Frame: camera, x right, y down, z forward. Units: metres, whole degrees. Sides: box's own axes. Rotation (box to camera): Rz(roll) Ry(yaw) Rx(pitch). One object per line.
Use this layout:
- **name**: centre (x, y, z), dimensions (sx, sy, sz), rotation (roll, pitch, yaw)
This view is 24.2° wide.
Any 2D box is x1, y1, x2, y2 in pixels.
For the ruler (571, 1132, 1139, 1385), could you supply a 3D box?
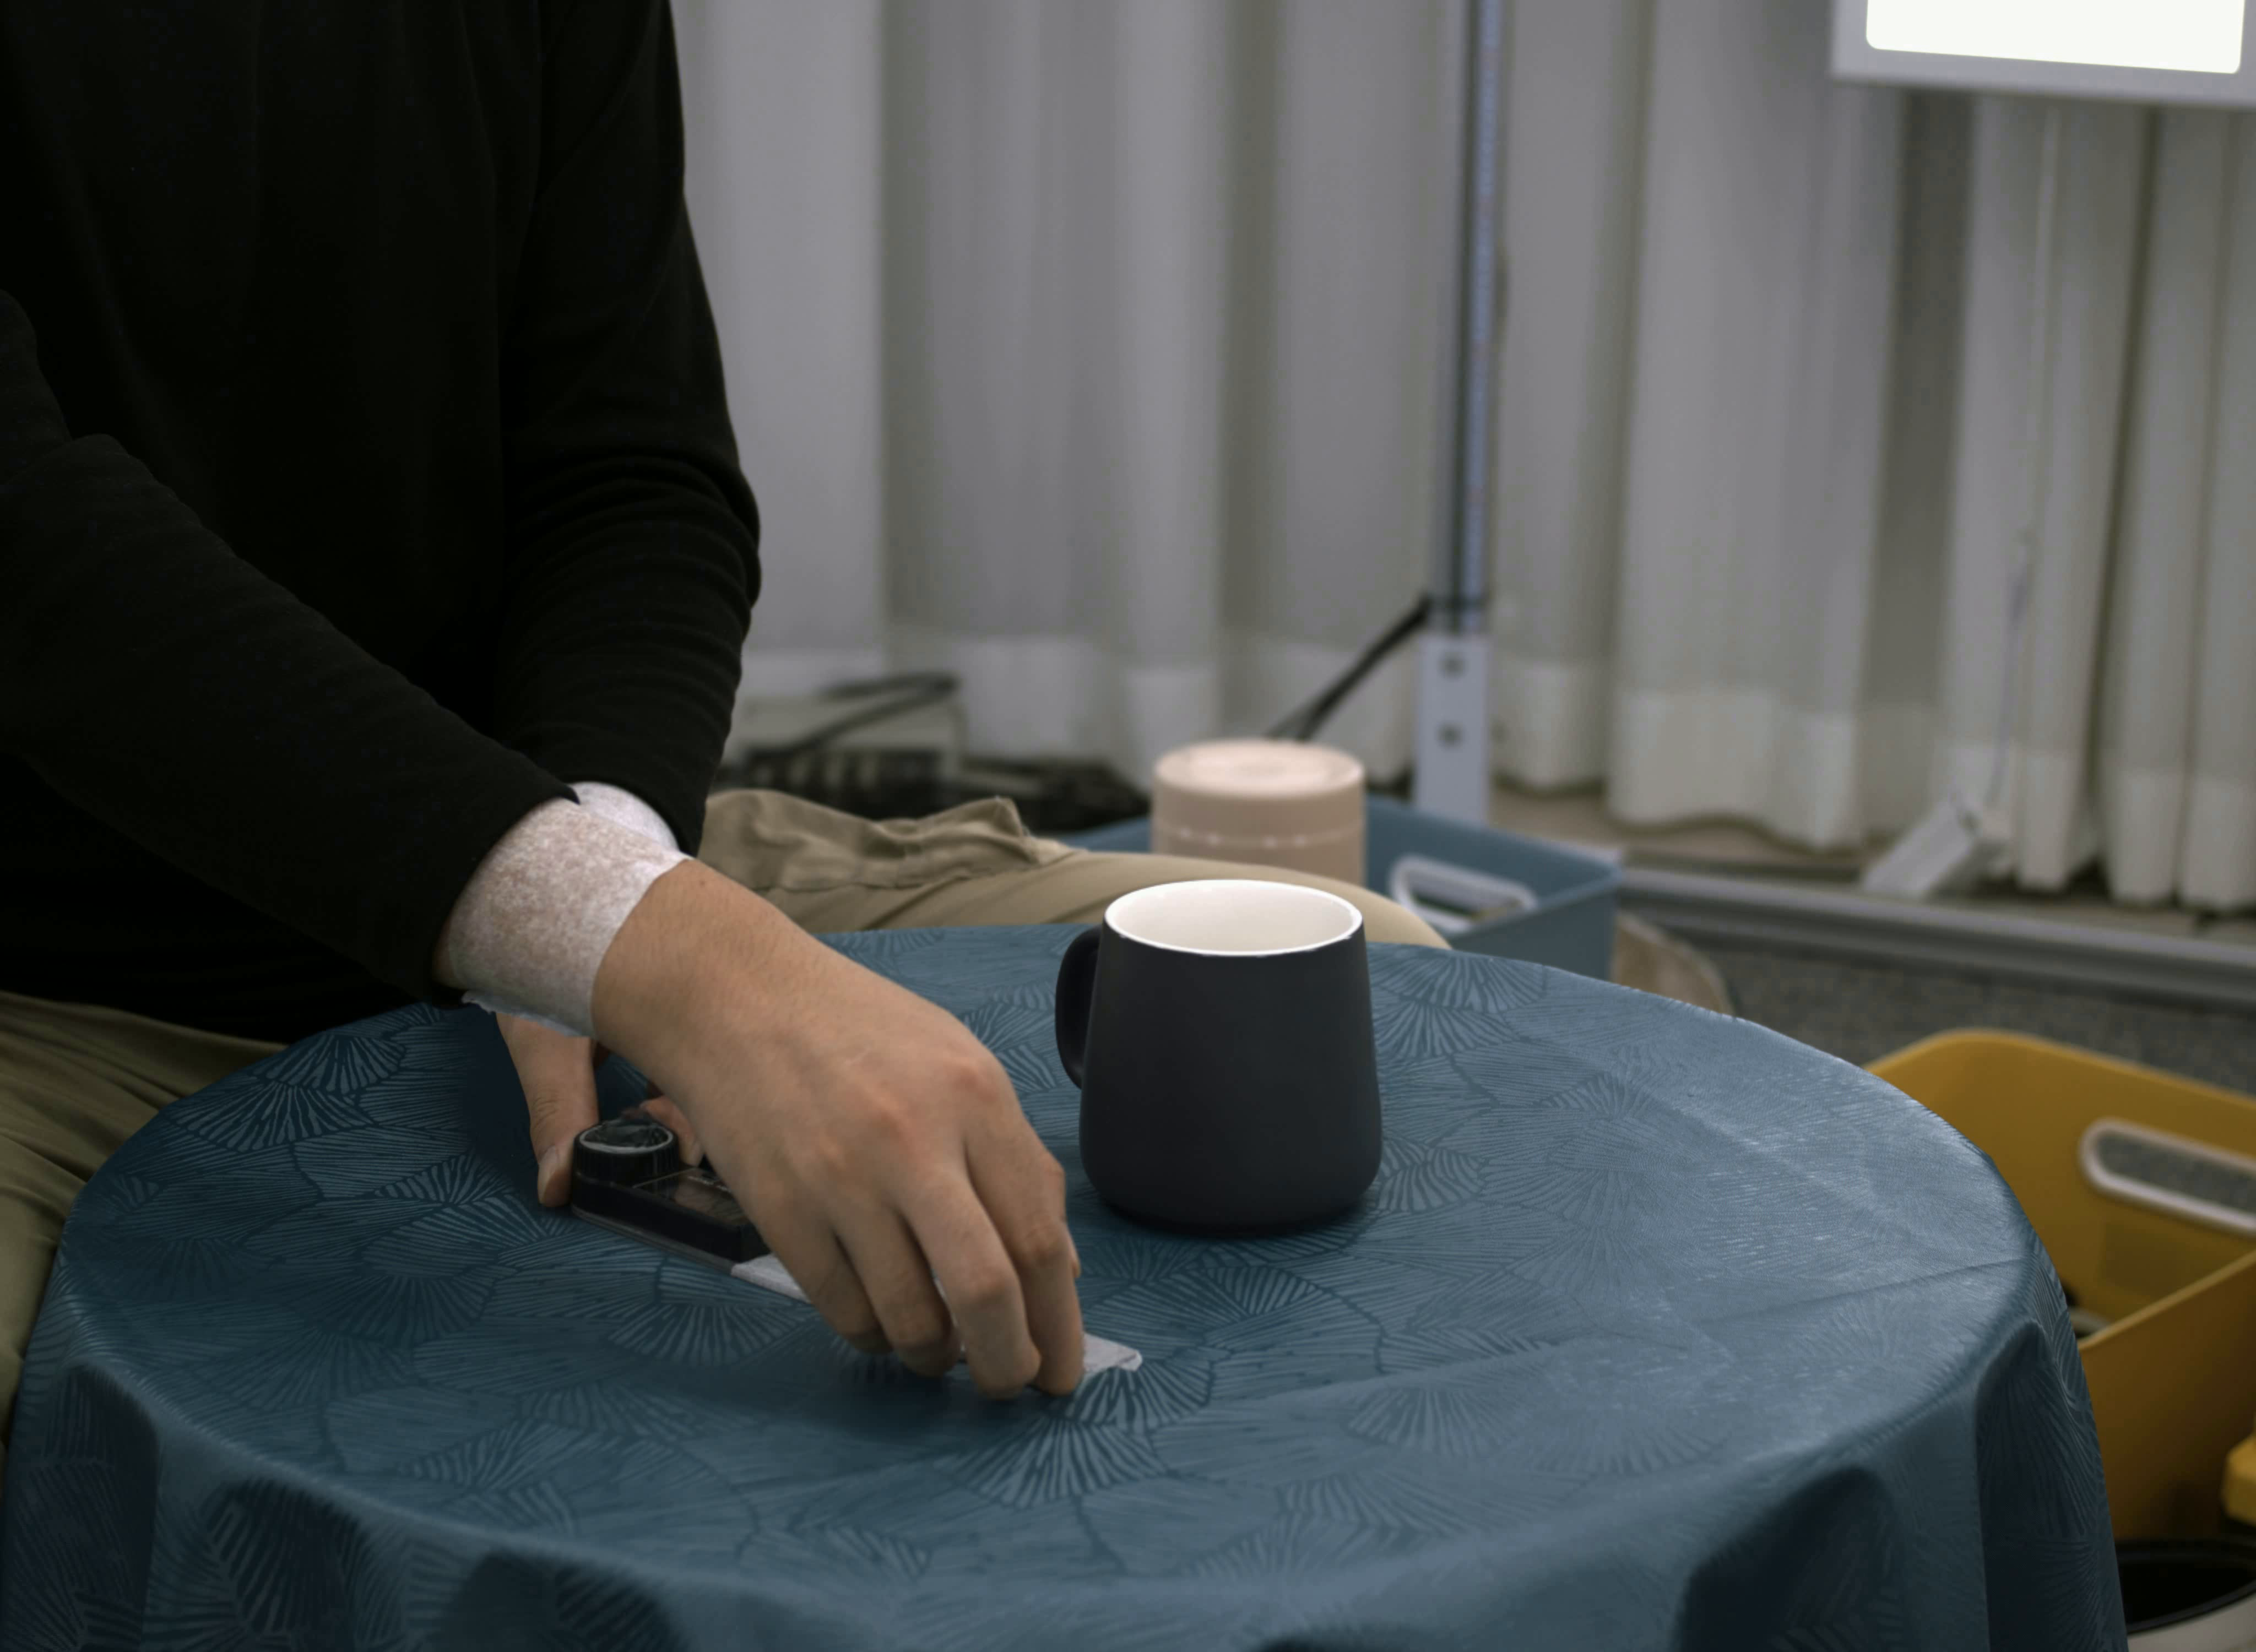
- **ruler**: centre (-0.086, 0.124, 1.536), dimensions (0.215, 0.024, 0.038), rotation (13, 23, 42)

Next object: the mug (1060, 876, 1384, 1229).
- **mug**: centre (0.023, 0.065, 1.616), dimensions (0.094, 0.090, 0.121), rotation (-12, 21, -39)
